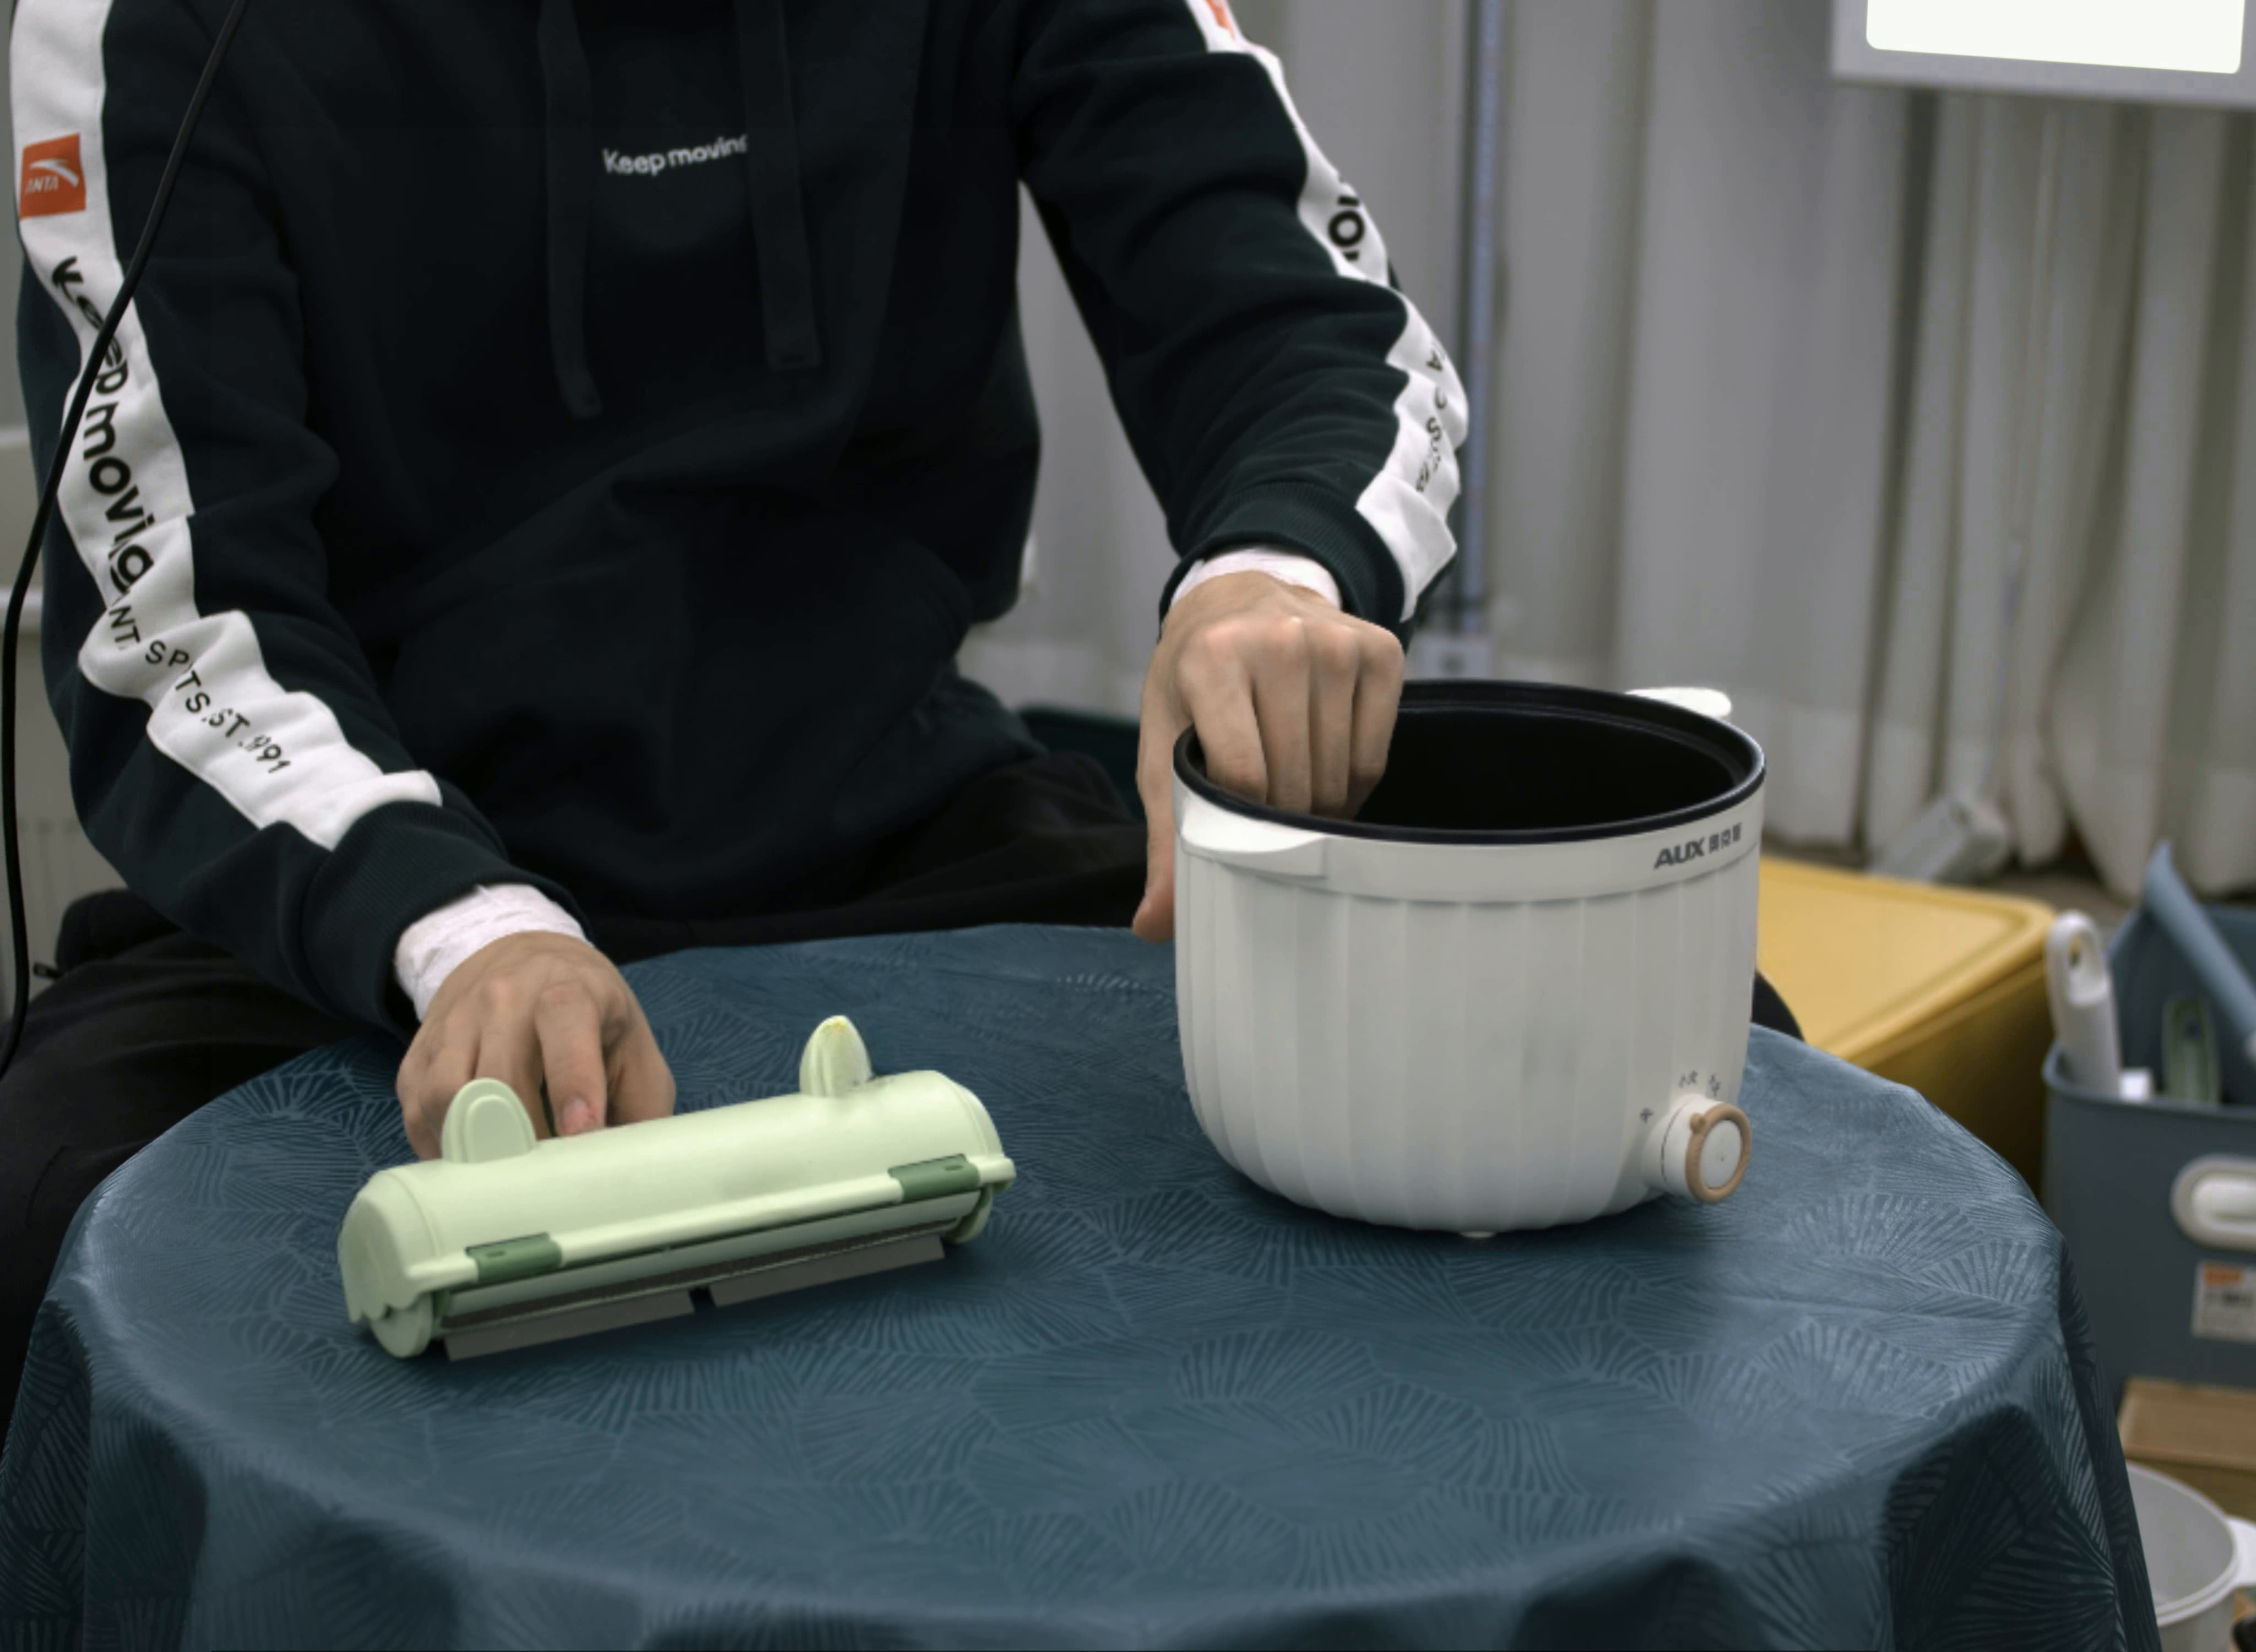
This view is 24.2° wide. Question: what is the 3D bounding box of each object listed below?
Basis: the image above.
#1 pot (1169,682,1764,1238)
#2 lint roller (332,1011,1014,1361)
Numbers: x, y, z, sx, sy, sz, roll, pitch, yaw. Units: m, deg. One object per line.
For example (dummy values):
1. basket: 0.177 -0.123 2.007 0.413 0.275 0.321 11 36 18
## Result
1. pot: 0.108 0.042 1.618 0.188 0.144 0.241 10 19 41
2. lint roller: -0.159 0.087 1.564 0.199 0.083 0.181 -9 24 -30
